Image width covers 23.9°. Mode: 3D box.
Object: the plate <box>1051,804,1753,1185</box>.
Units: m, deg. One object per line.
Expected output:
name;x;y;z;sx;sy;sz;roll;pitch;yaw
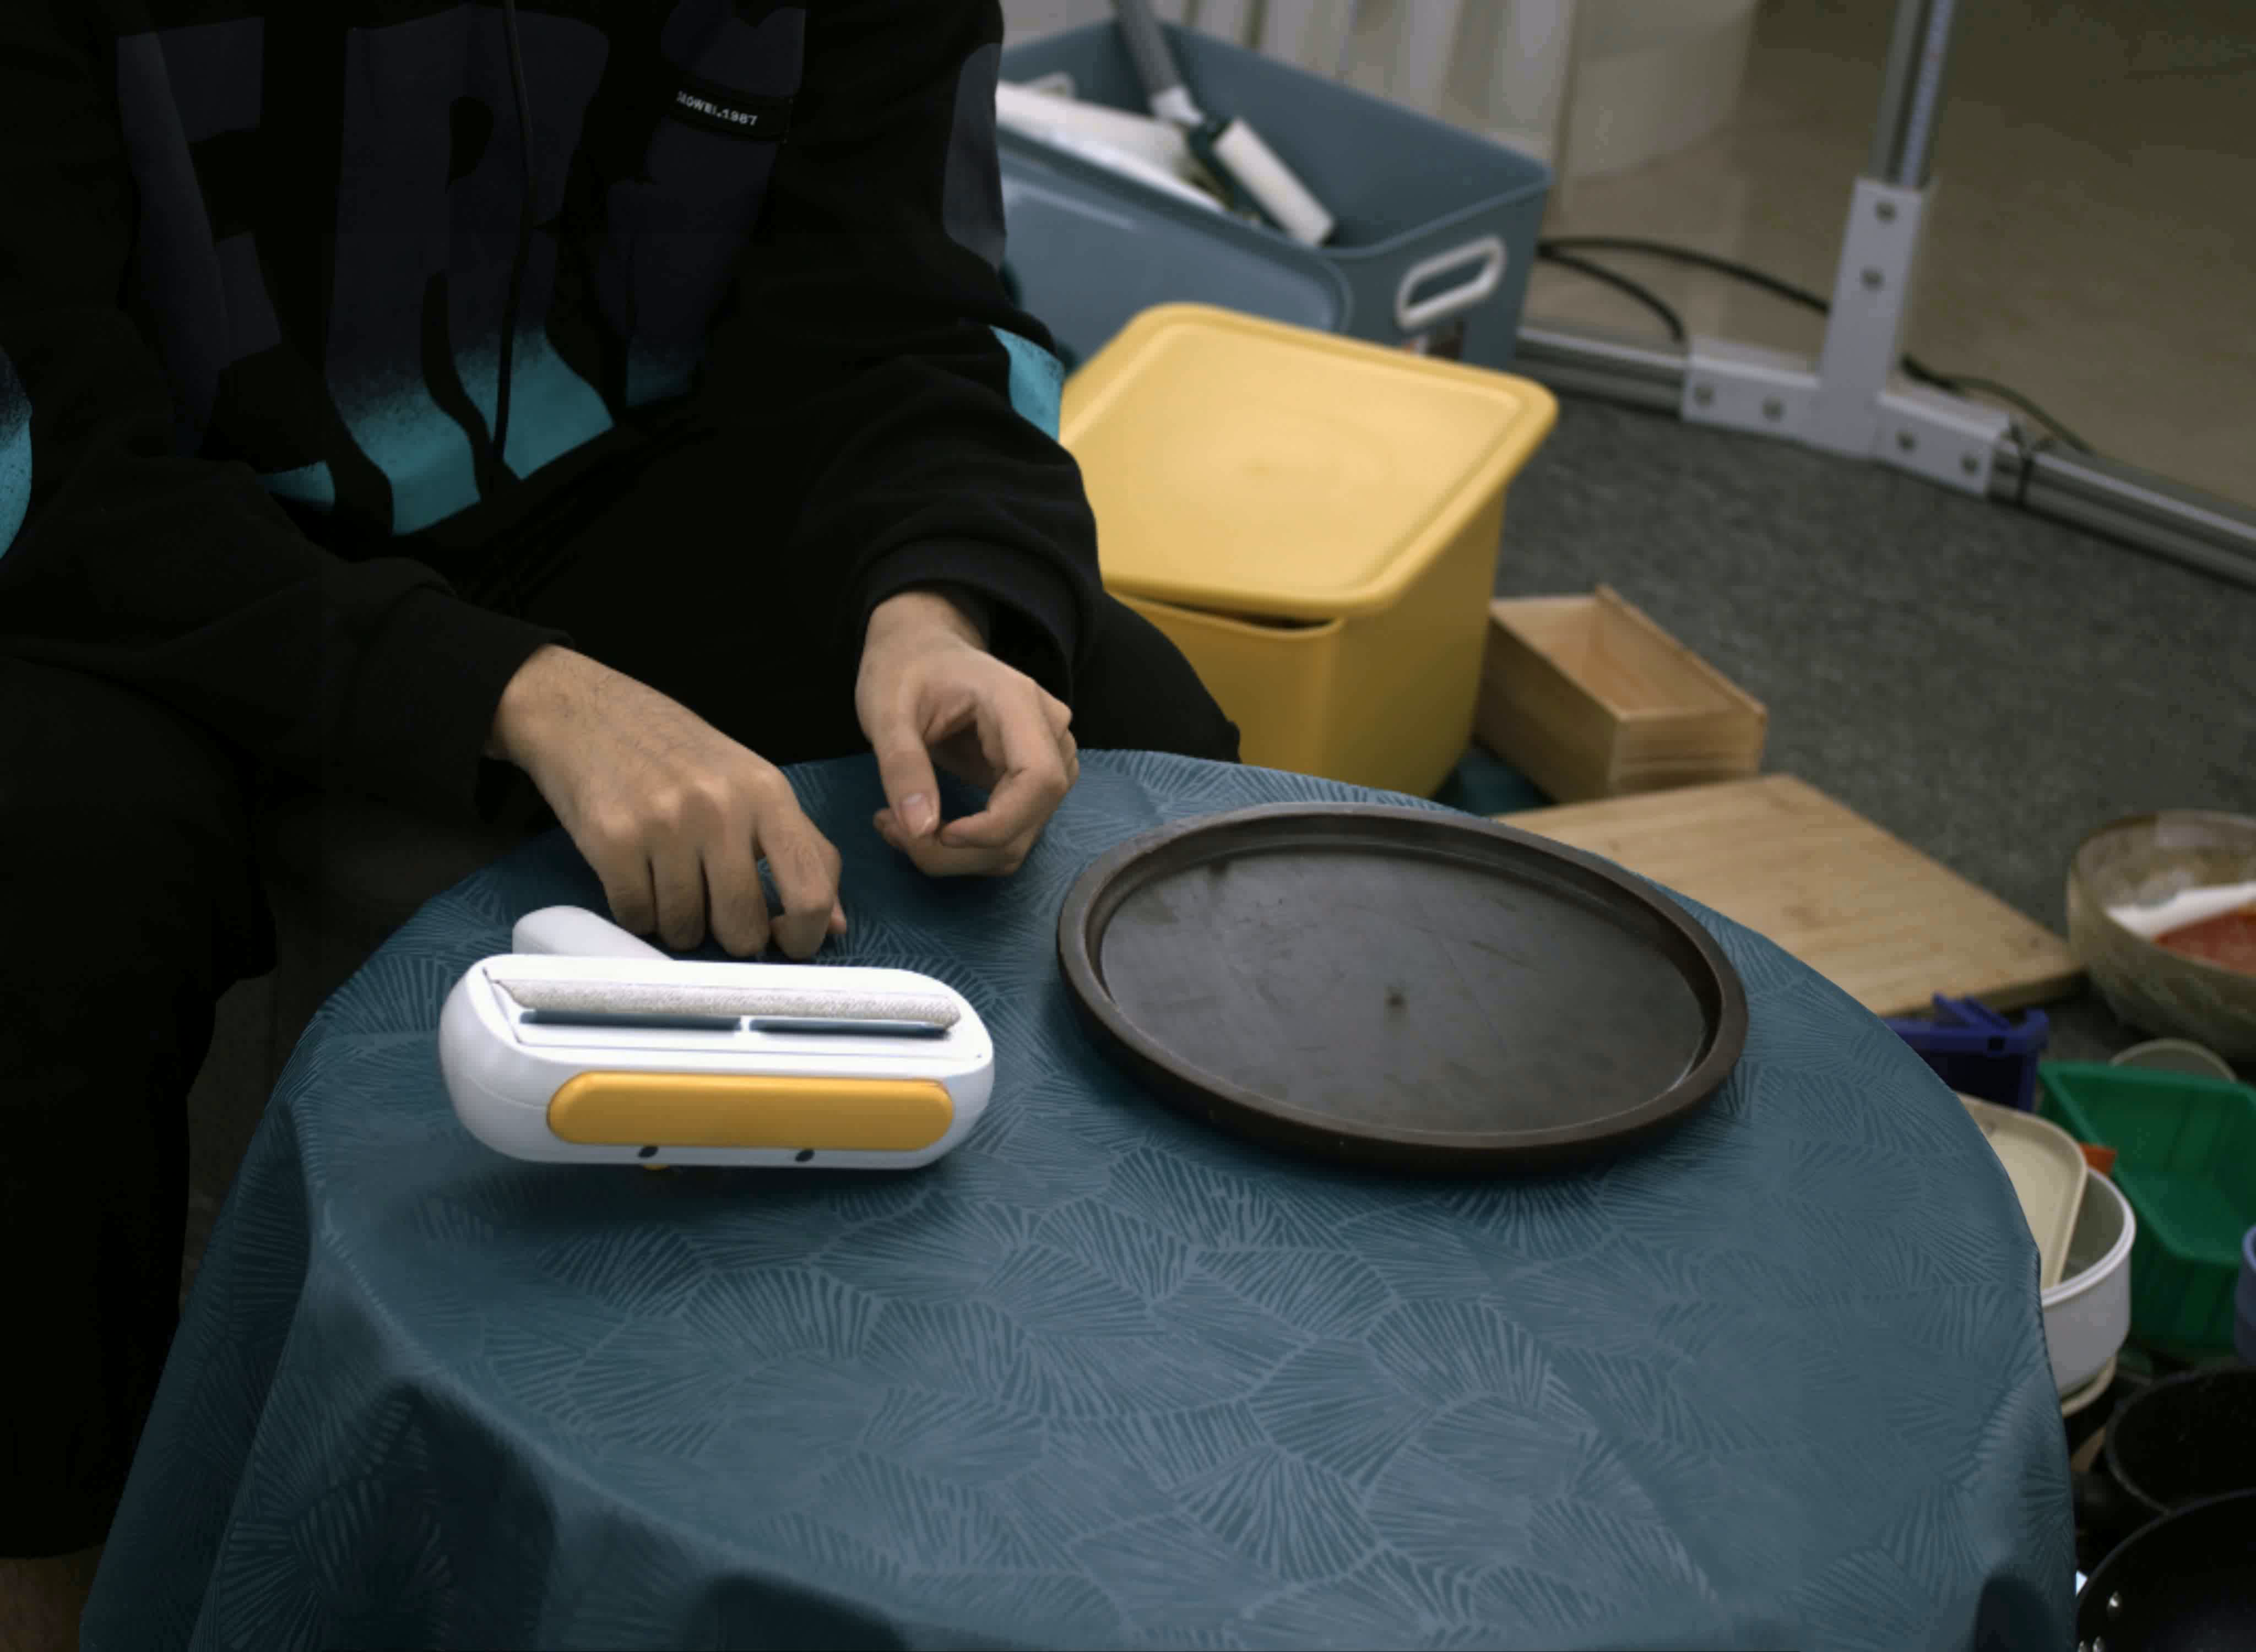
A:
plate;0.098;0.059;1.922;0.254;0.029;0.256;4;26;-2

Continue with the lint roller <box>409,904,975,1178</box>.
lint roller;-0.165;0.060;1.813;0.191;0.074;0.194;0;25;-23
